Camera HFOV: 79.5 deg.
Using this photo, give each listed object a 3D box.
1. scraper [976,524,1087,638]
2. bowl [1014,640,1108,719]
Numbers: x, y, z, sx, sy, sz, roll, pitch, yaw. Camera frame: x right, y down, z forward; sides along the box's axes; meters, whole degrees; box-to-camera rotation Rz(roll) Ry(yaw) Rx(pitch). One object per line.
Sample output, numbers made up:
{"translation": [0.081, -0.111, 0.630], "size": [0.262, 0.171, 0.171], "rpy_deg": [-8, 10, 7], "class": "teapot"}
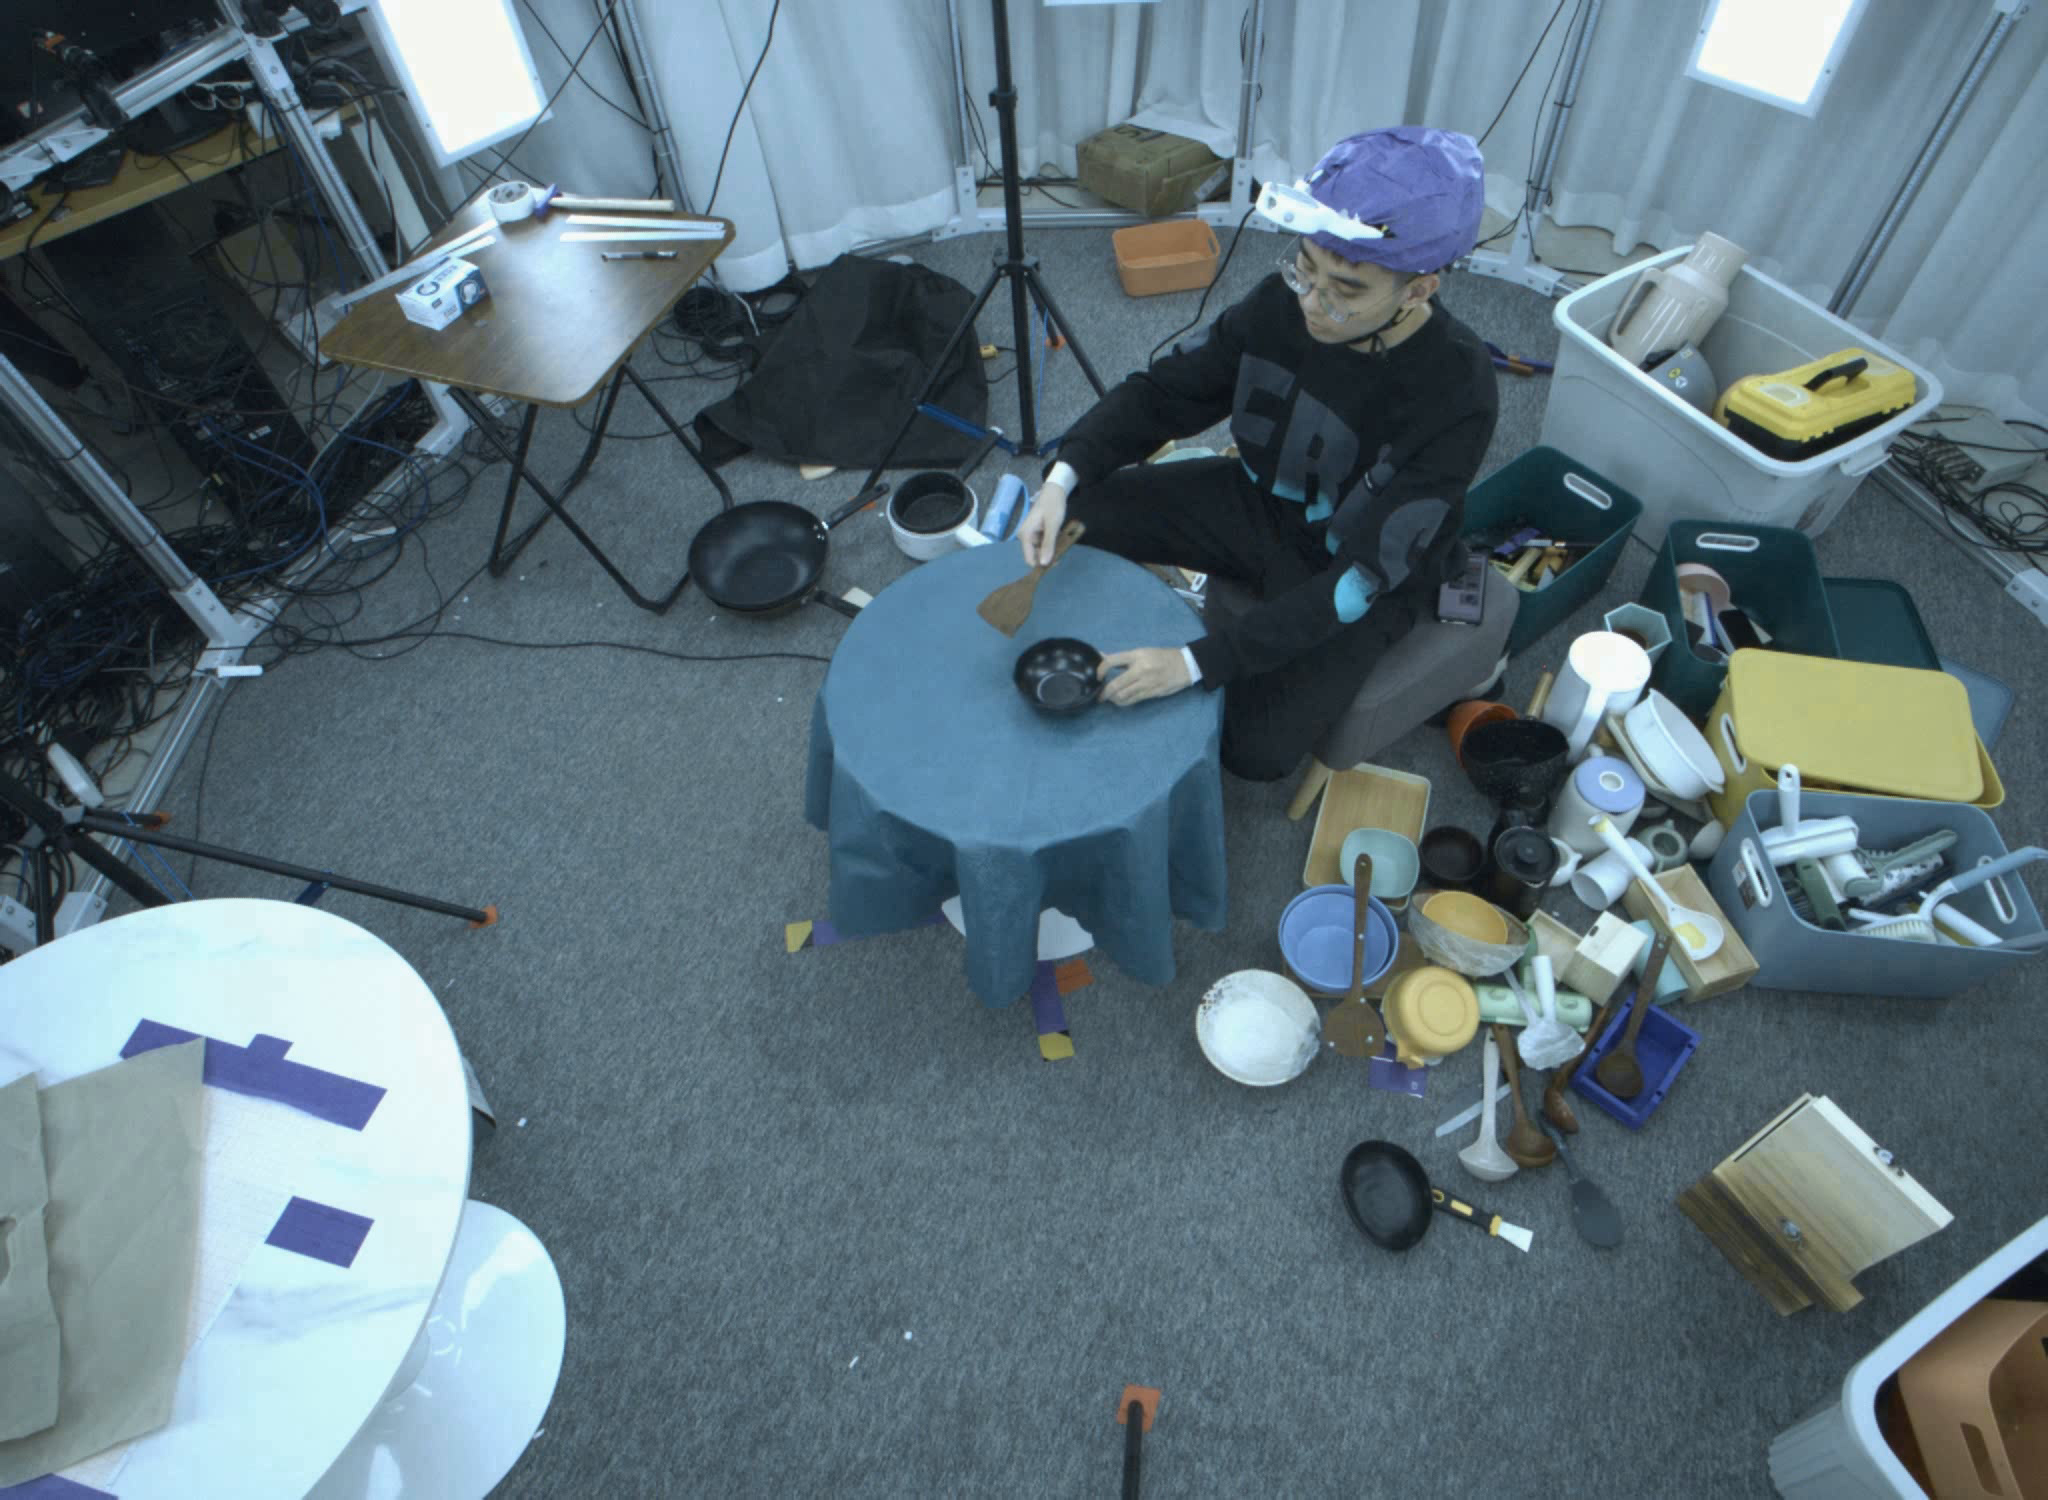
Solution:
{"translation": [0.019, -0.259, 1.841], "size": [0.075, 0.011, 0.211], "rpy_deg": [39, 81, 17], "class": "scraper"}
{"translation": [0.057, -0.096, 1.833], "size": [0.139, 0.050, 0.138], "rpy_deg": [-2, 55, 4], "class": "bowl"}
